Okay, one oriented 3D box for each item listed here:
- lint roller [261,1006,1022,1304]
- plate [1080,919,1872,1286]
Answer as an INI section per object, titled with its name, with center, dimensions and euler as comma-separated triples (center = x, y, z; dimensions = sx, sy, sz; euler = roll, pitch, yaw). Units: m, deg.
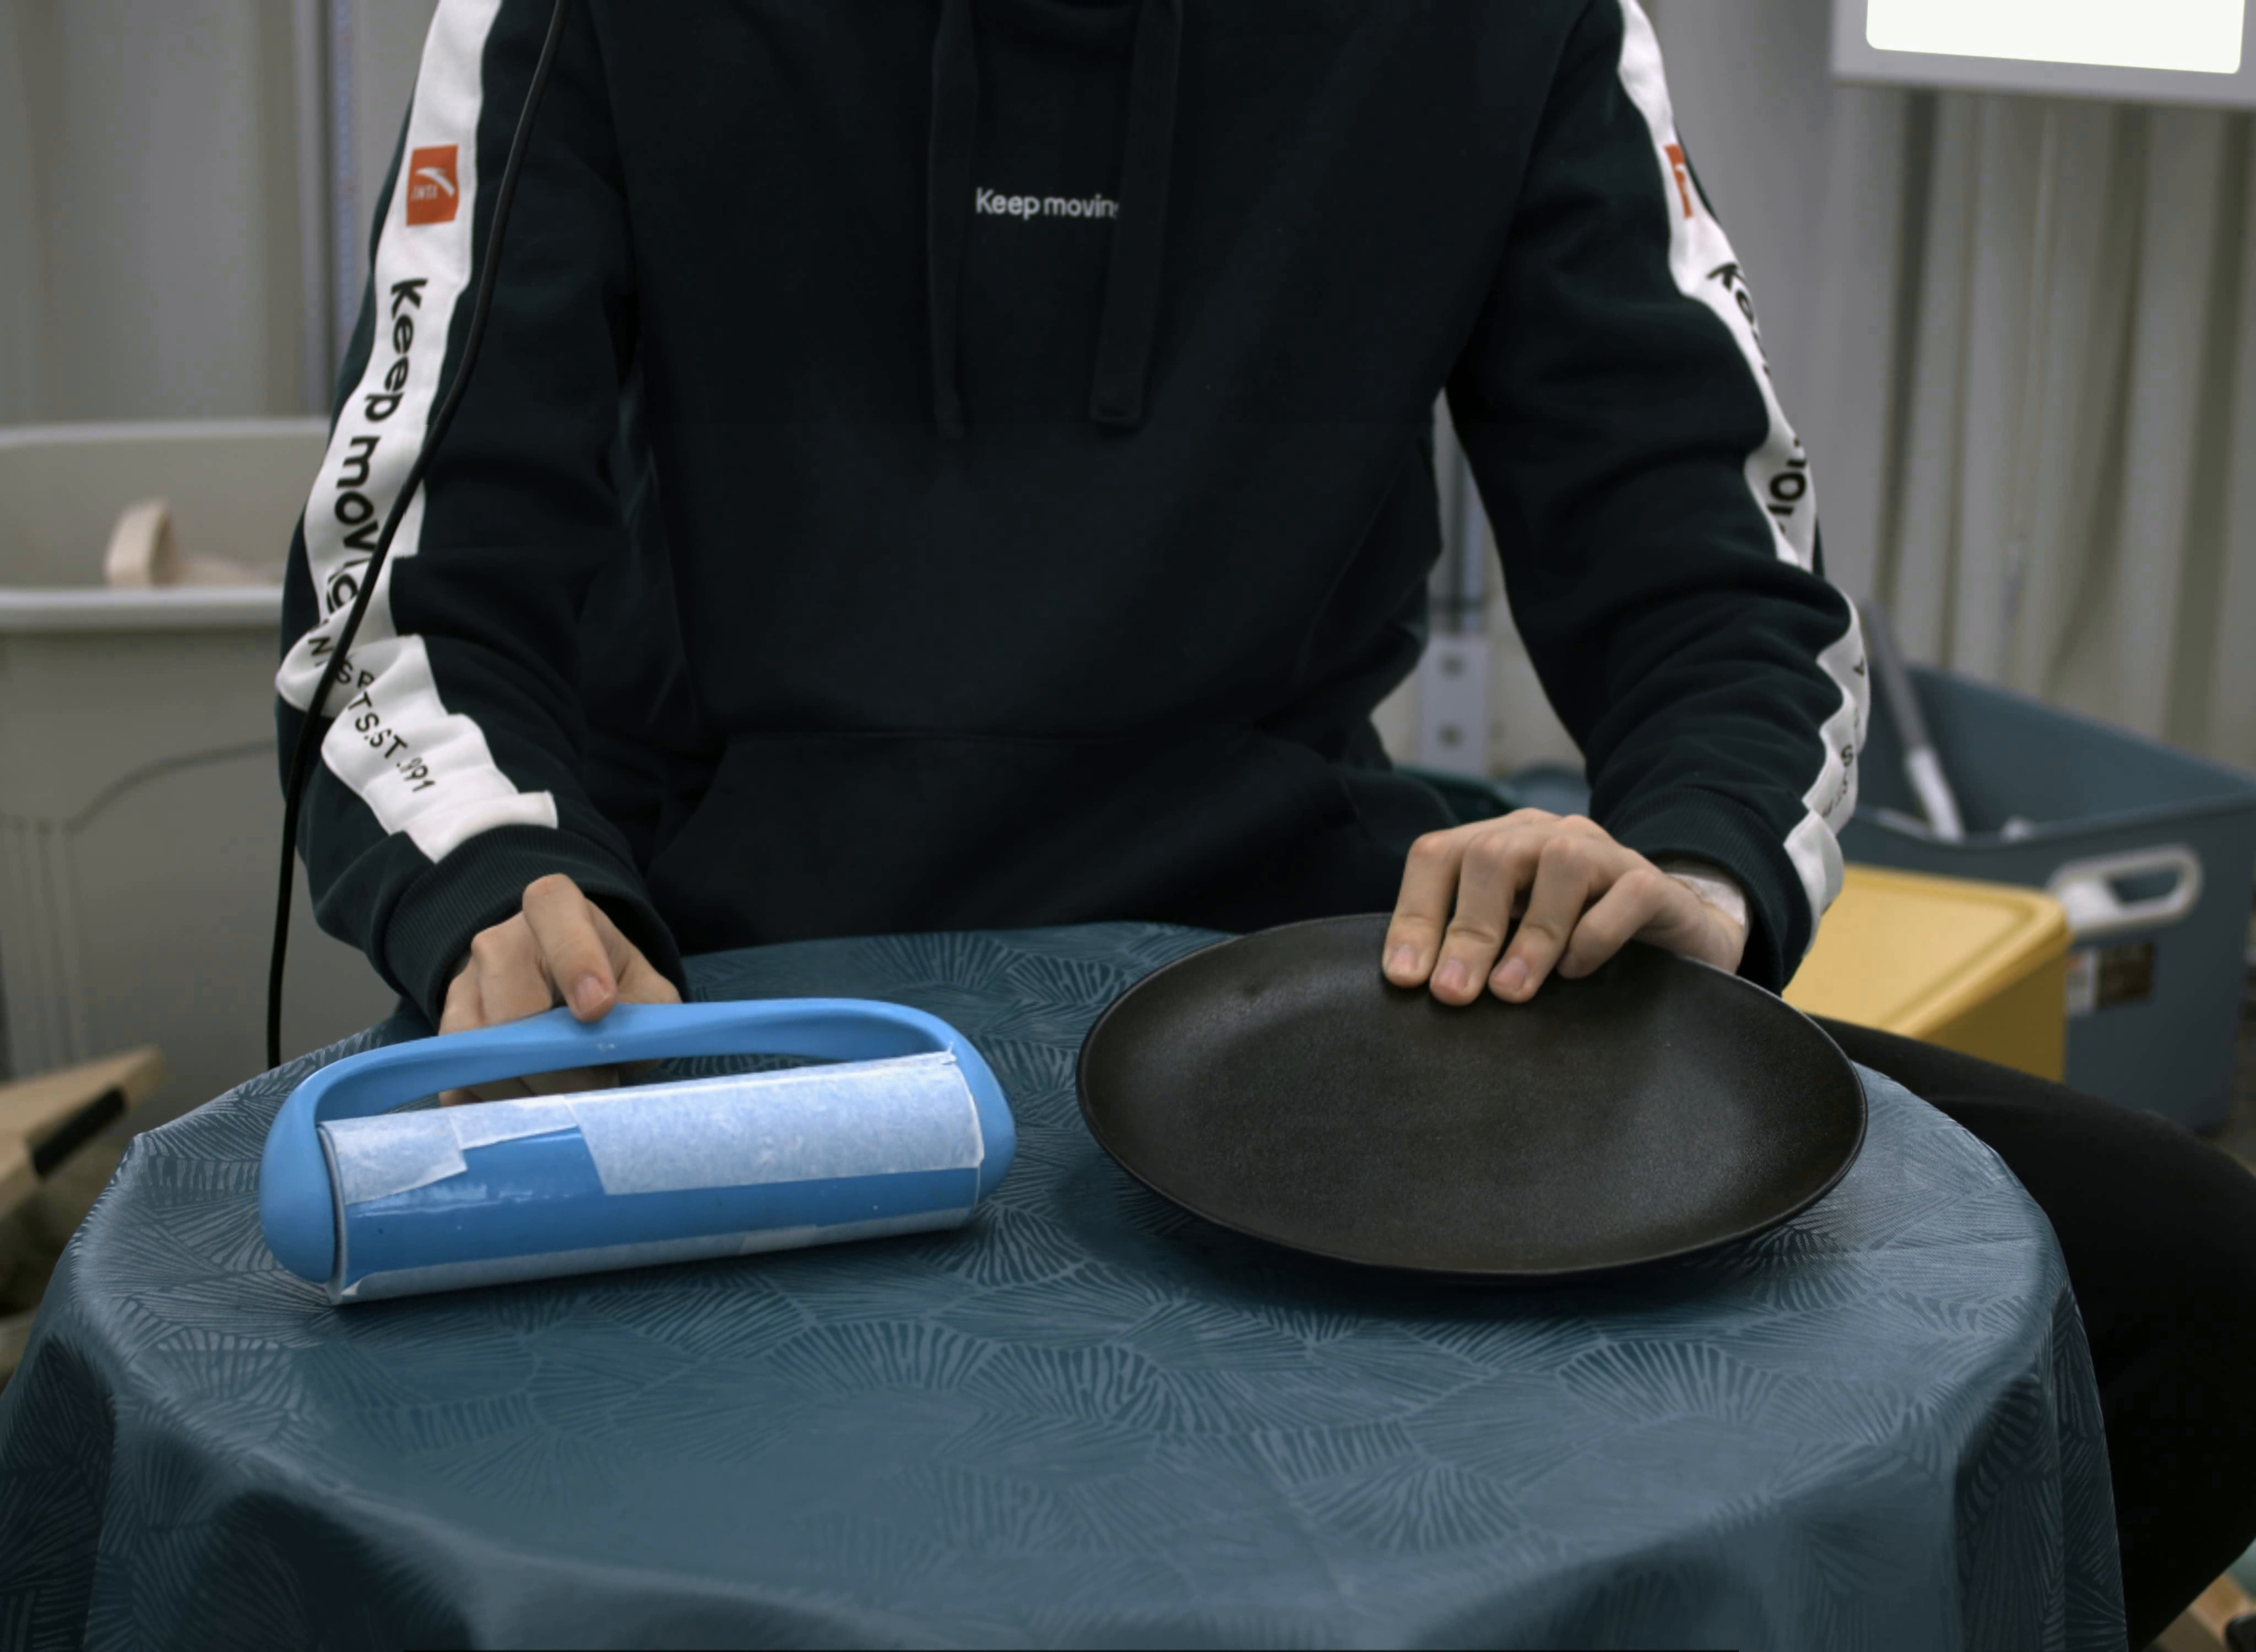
[lint roller]
center = -0.163, 0.088, 1.597
dimensions = 0.229, 0.068, 0.178
euler = -7, 16, -22
[plate]
center = 0.106, 0.088, 1.619
dimensions = 0.243, 0.023, 0.242
euler = 2, 24, 0
